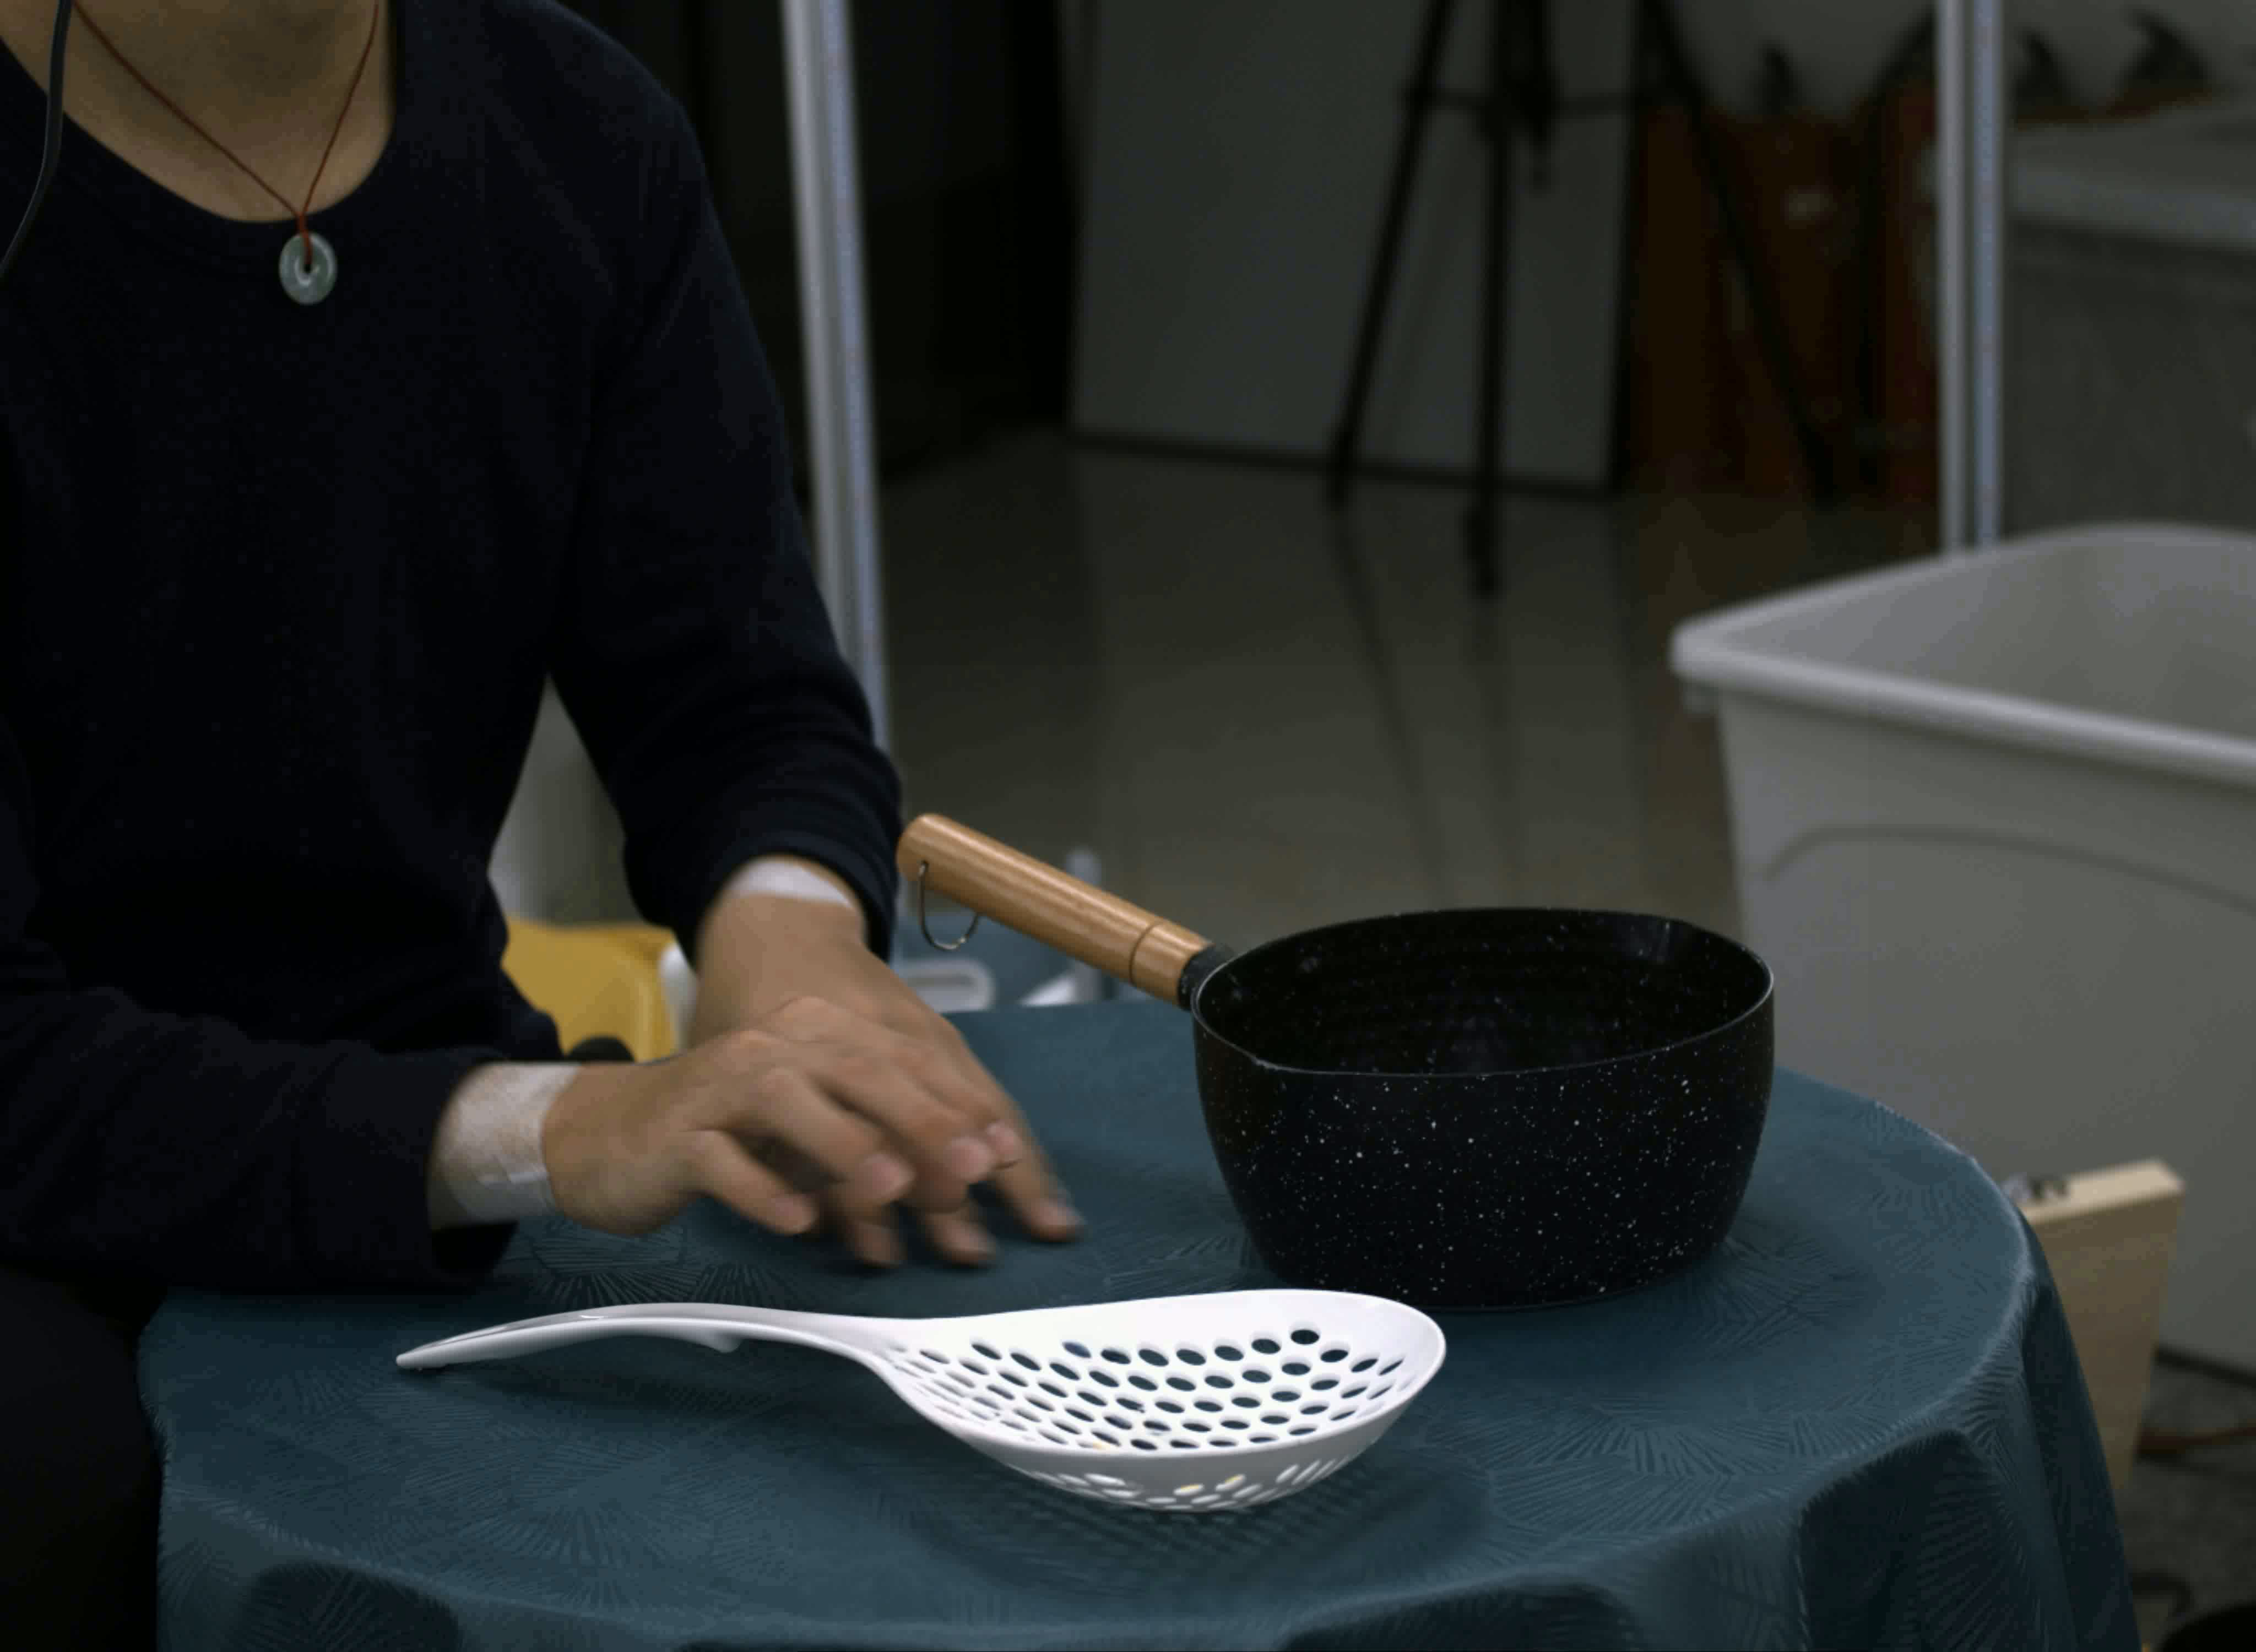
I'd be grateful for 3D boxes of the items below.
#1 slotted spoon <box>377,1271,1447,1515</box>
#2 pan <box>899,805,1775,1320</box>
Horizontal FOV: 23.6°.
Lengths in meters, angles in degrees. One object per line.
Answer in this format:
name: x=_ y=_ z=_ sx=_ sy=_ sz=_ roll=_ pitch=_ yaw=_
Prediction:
slotted spoon: x=-0.071 y=0.157 z=1.554 sx=0.349 sy=0.051 sz=0.135 roll=6 pitch=18 yaw=30
pan: x=0.053 y=0.069 z=1.741 sx=0.346 sy=0.109 sz=0.203 roll=10 pitch=21 yaw=41
